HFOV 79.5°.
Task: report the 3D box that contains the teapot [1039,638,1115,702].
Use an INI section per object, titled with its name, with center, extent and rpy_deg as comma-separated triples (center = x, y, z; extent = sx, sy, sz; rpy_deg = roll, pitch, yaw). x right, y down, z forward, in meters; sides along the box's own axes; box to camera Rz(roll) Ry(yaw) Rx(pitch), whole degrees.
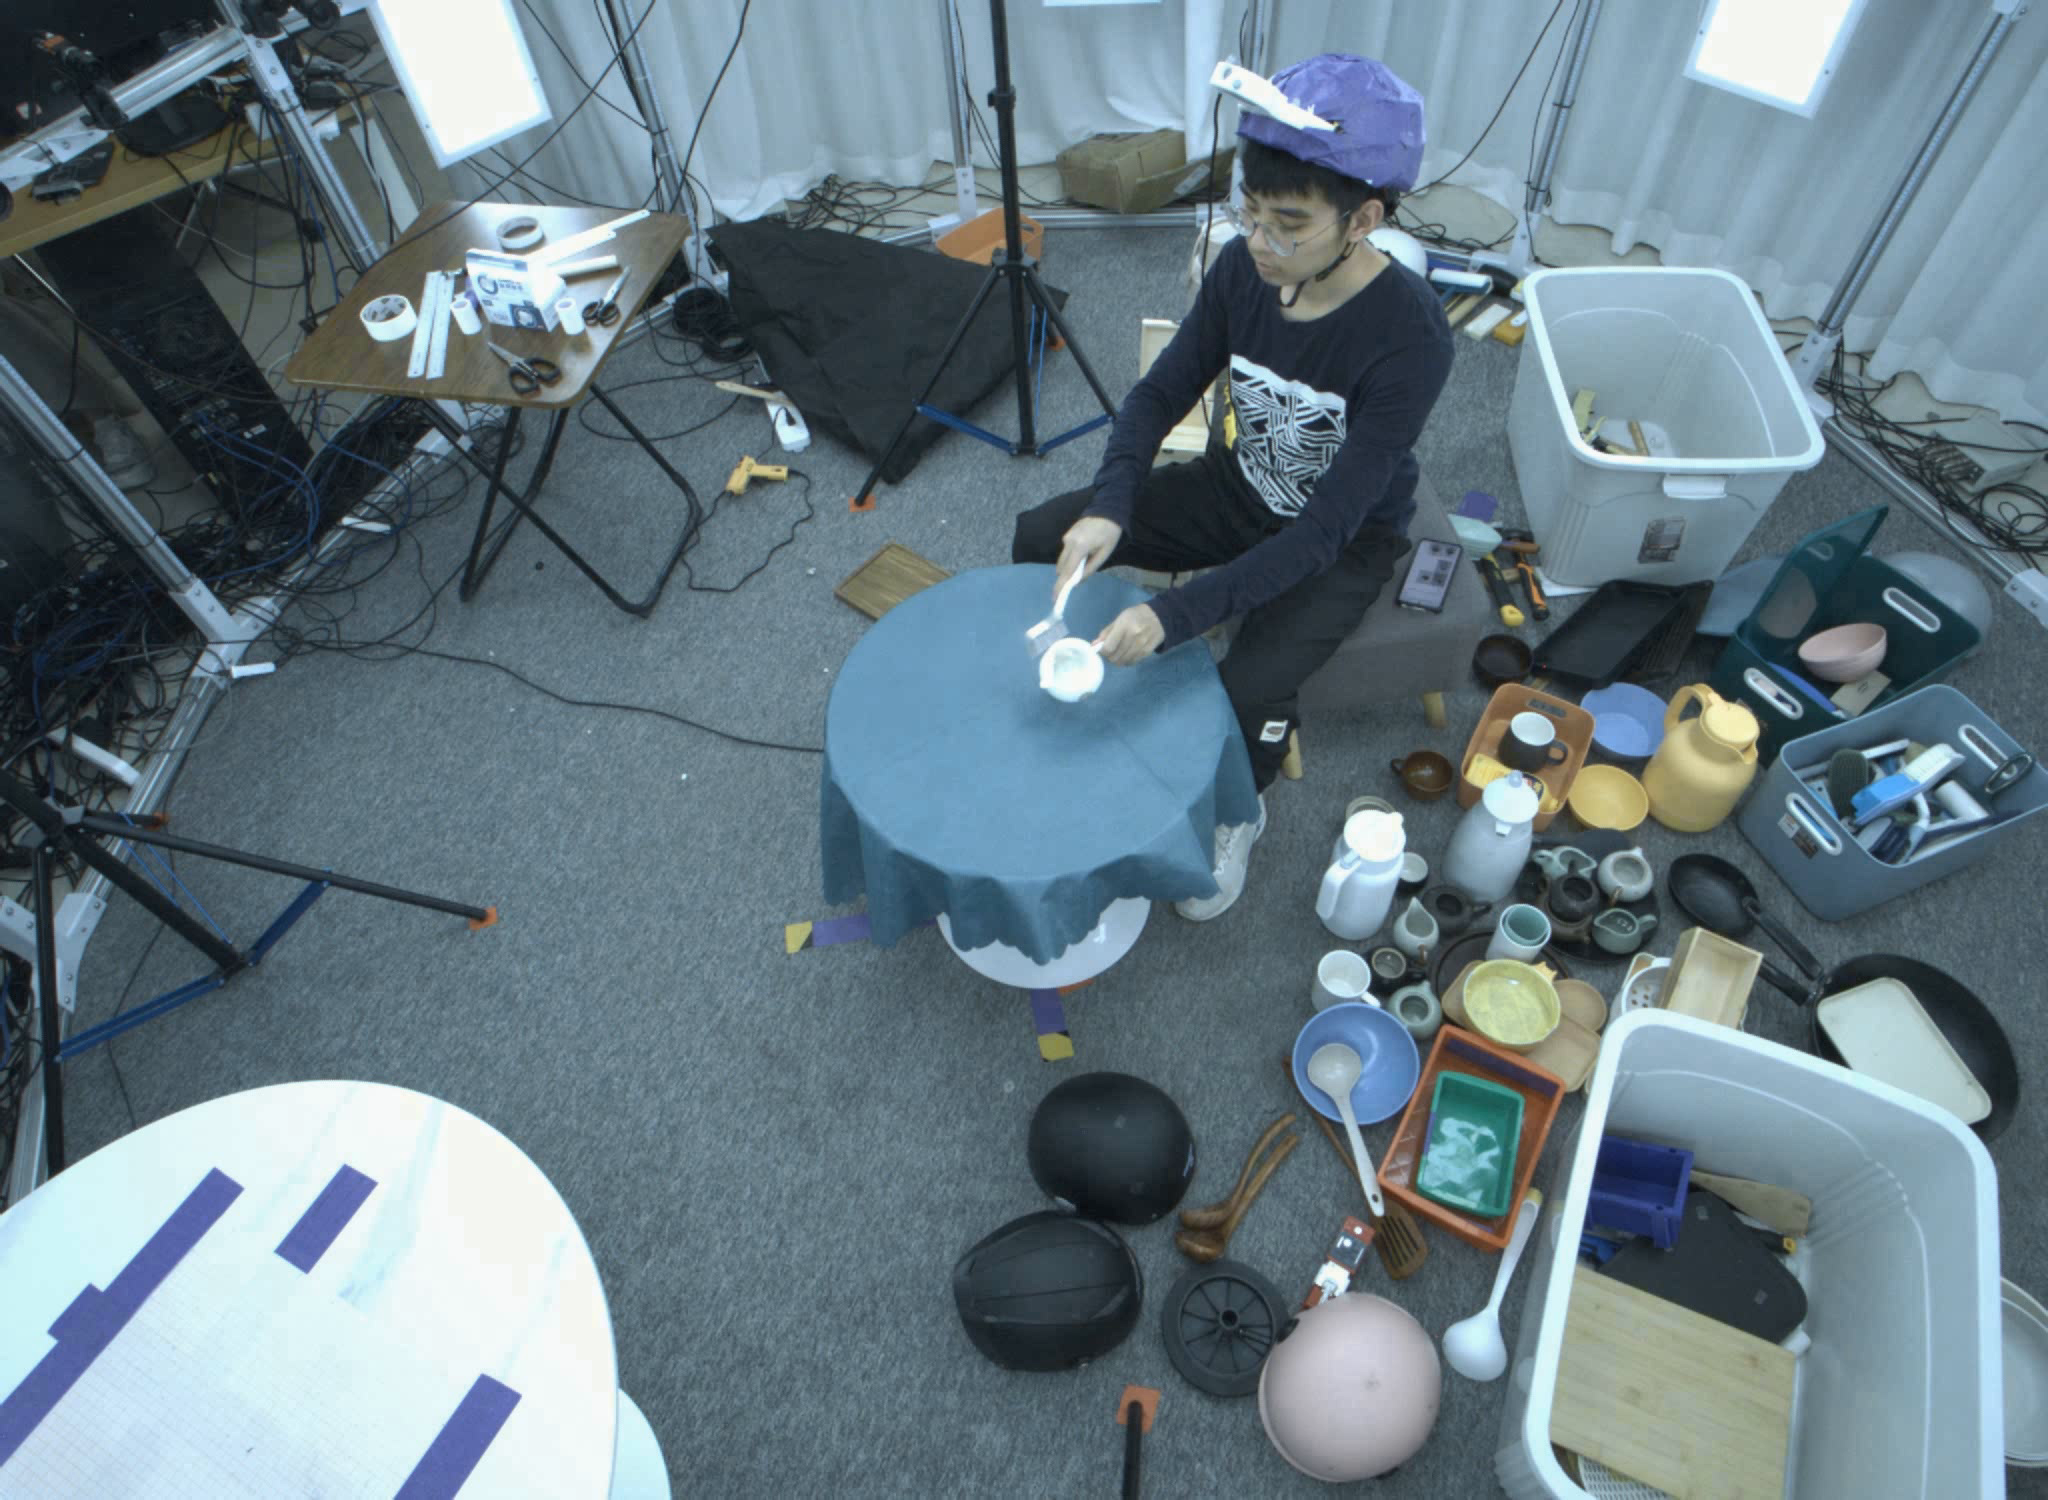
[teapot]
center = 0.077, -0.121, 1.763
extent = 0.127, 0.057, 0.092
rpy_deg = -38, 76, -5

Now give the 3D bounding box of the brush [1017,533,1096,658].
[brush]
center = 0.064, -0.228, 1.809
extent = 0.050, 0.034, 0.244
rpy_deg = 37, 59, -7
